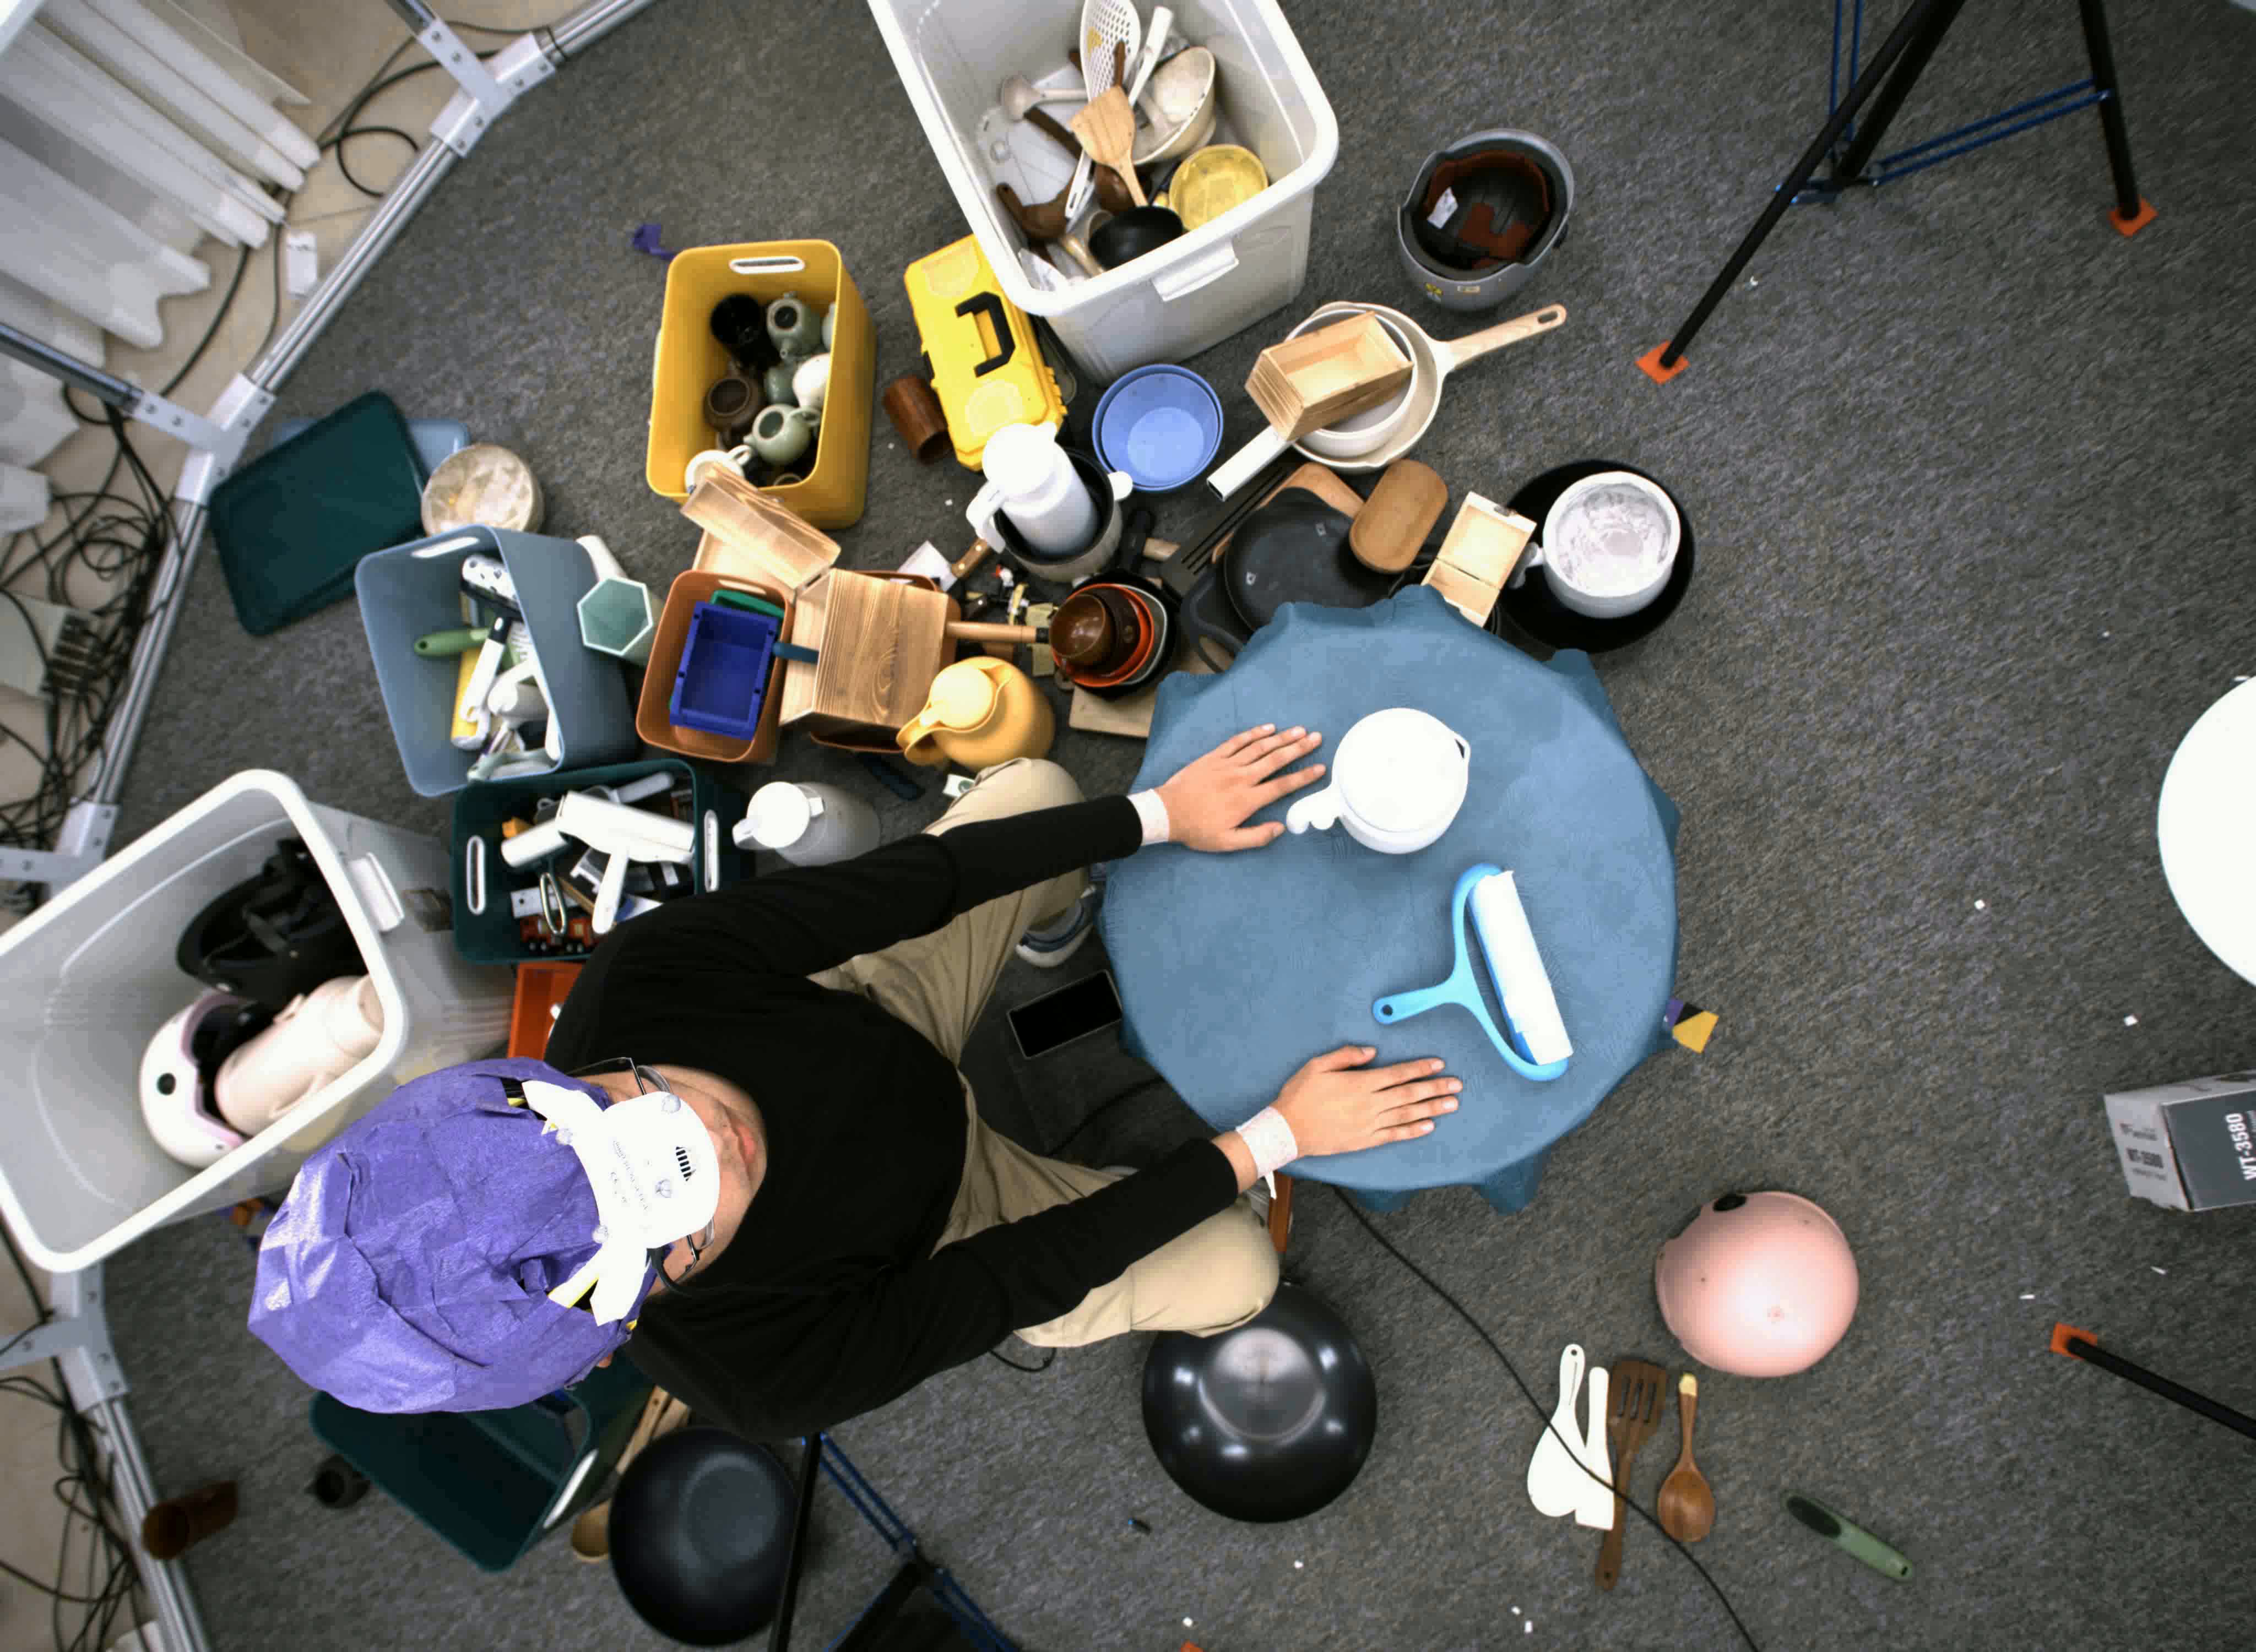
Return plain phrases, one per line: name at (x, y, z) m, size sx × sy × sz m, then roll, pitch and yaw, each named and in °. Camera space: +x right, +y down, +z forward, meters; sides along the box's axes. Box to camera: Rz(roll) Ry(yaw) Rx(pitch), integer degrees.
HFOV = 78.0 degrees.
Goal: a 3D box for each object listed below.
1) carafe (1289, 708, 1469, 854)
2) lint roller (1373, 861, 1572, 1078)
carafe at (0.248, -0.035, 1.383) m, size 0.192 × 0.182 × 0.131 m, roll -23°, pitch 81°, yaw 10°
lint roller at (0.340, 0.164, 1.412) m, size 0.181 × 0.068 × 0.228 m, roll -20°, pitch 86°, yaw 5°
